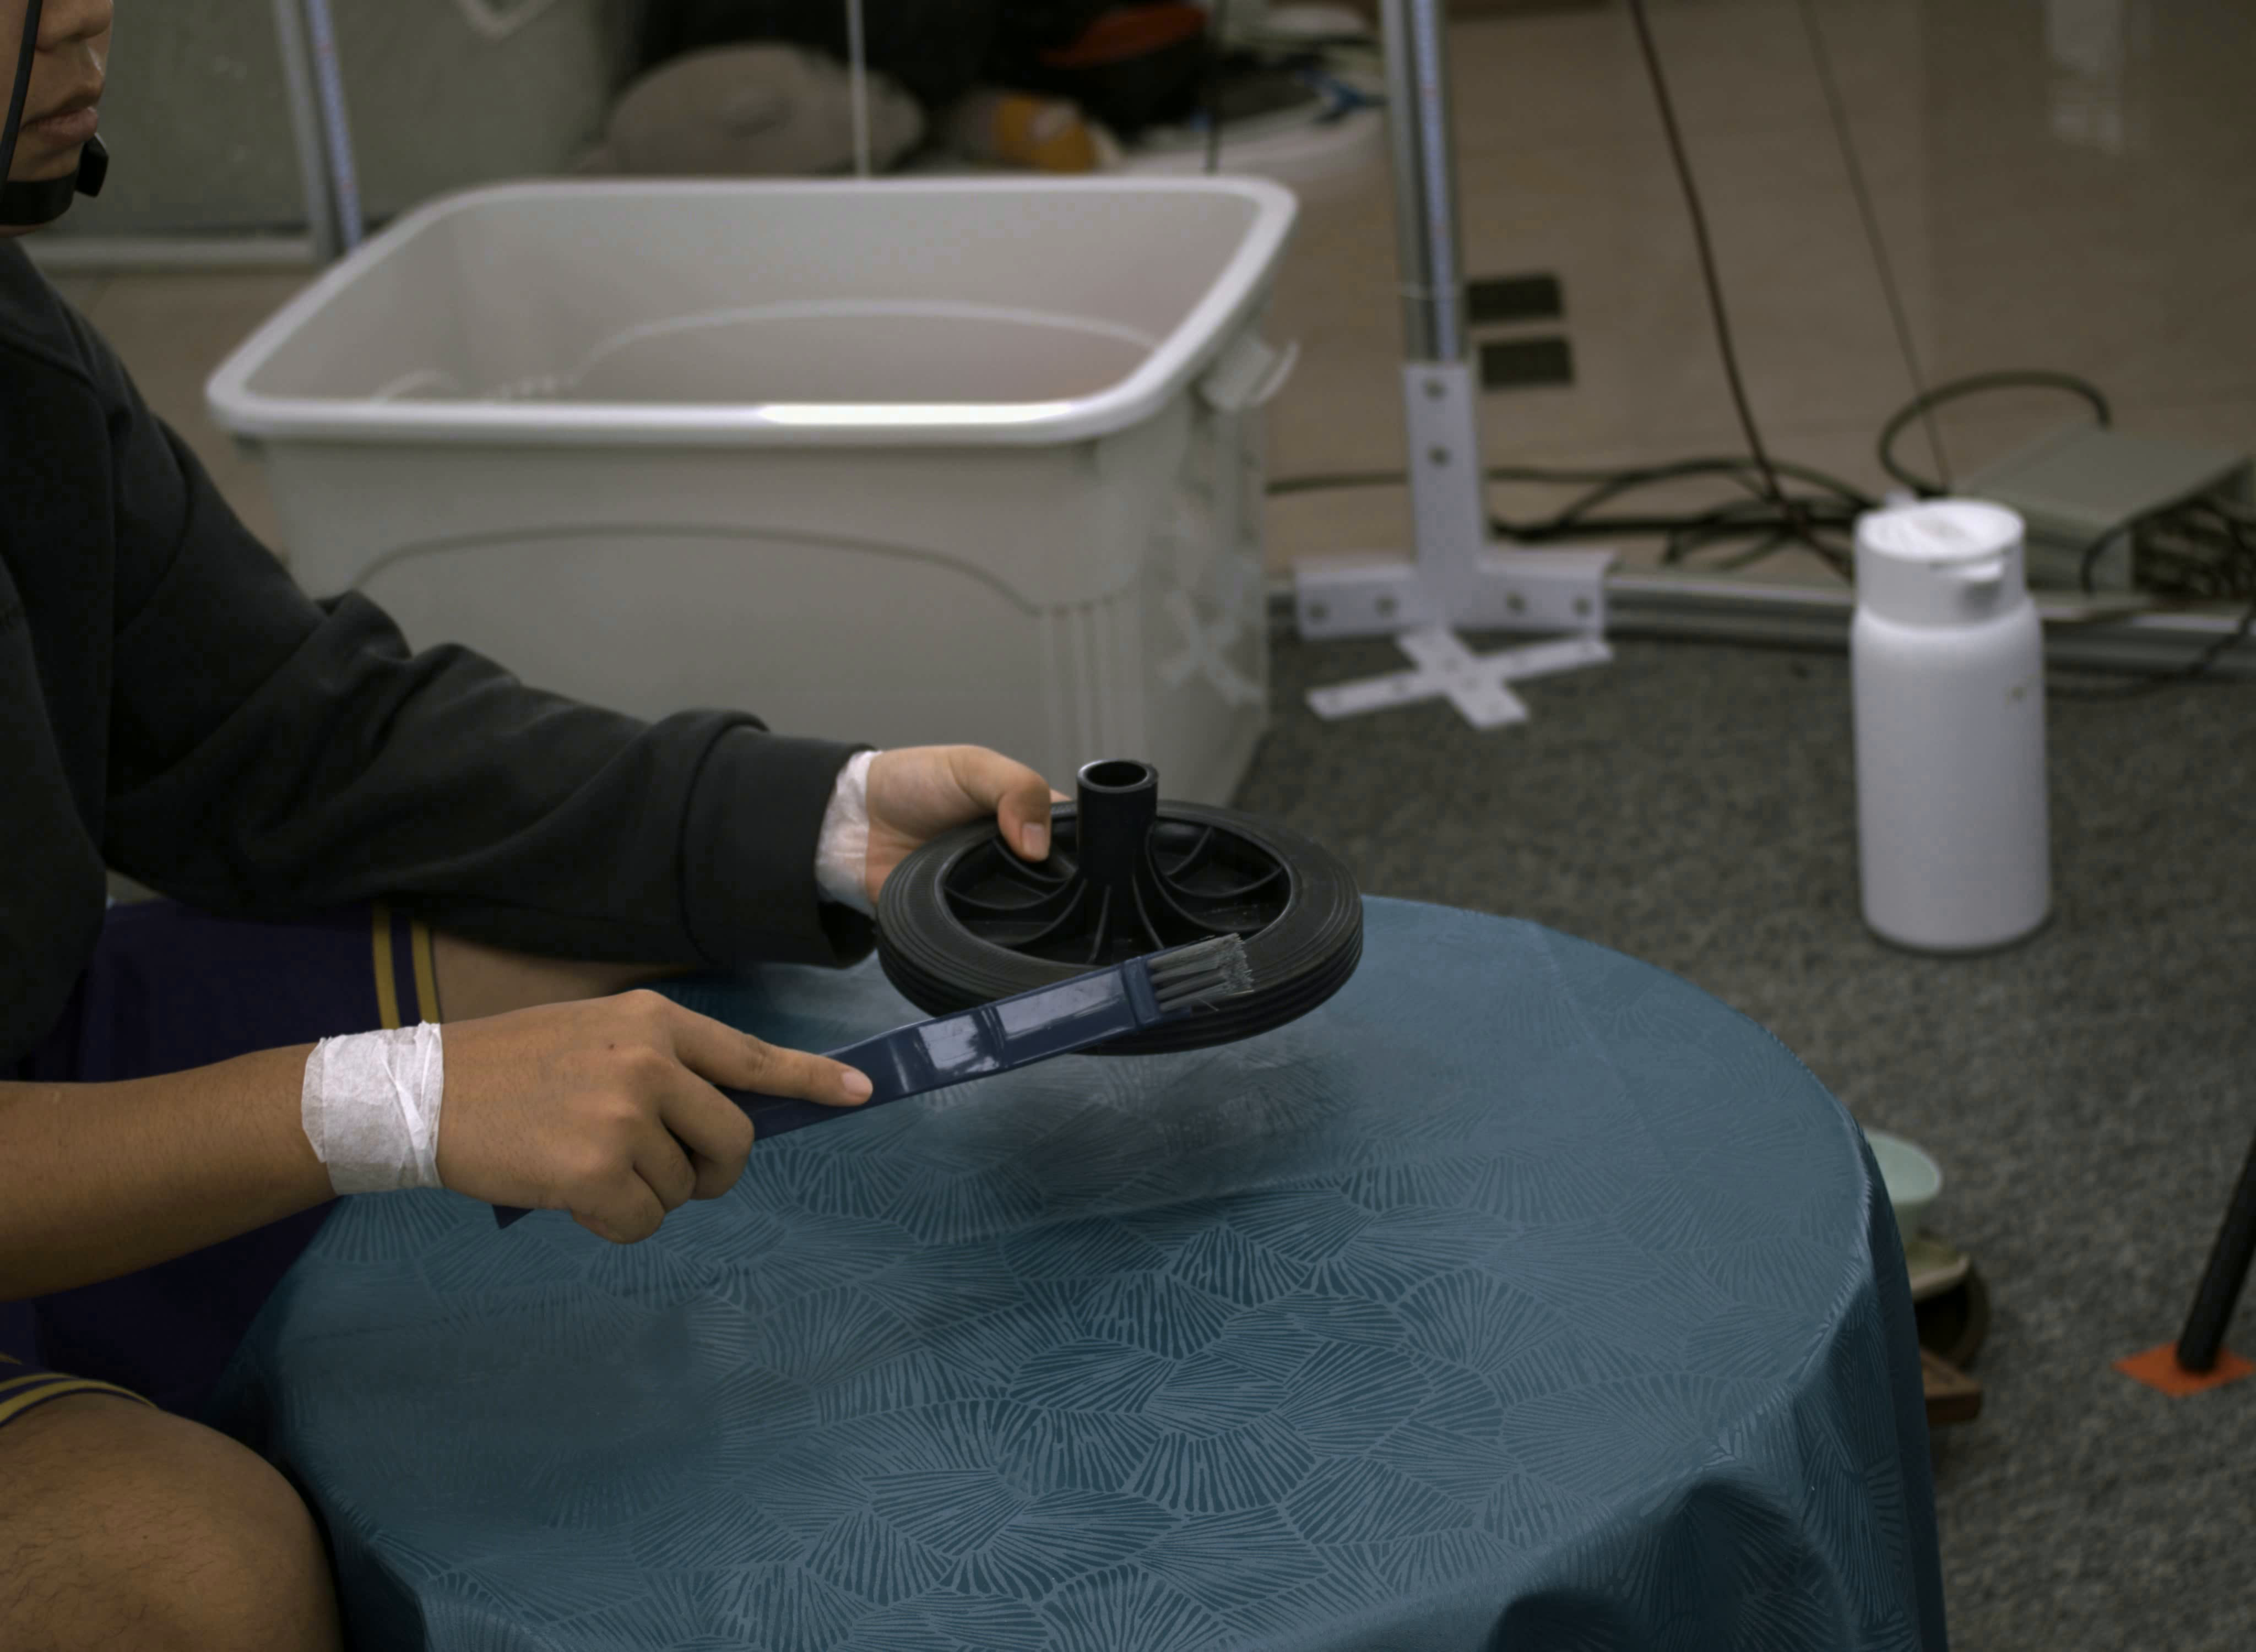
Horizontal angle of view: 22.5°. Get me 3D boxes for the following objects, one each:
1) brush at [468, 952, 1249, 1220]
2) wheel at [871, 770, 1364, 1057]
[{"bbox_3d":[-0.097,0.088,2.021,0.272,0.033,0.096,-15,-1,-19],"label":"brush"},{"bbox_3d":[-0.005,0.020,2.168,0.188,0.080,0.186,19,32,36],"label":"wheel"}]
